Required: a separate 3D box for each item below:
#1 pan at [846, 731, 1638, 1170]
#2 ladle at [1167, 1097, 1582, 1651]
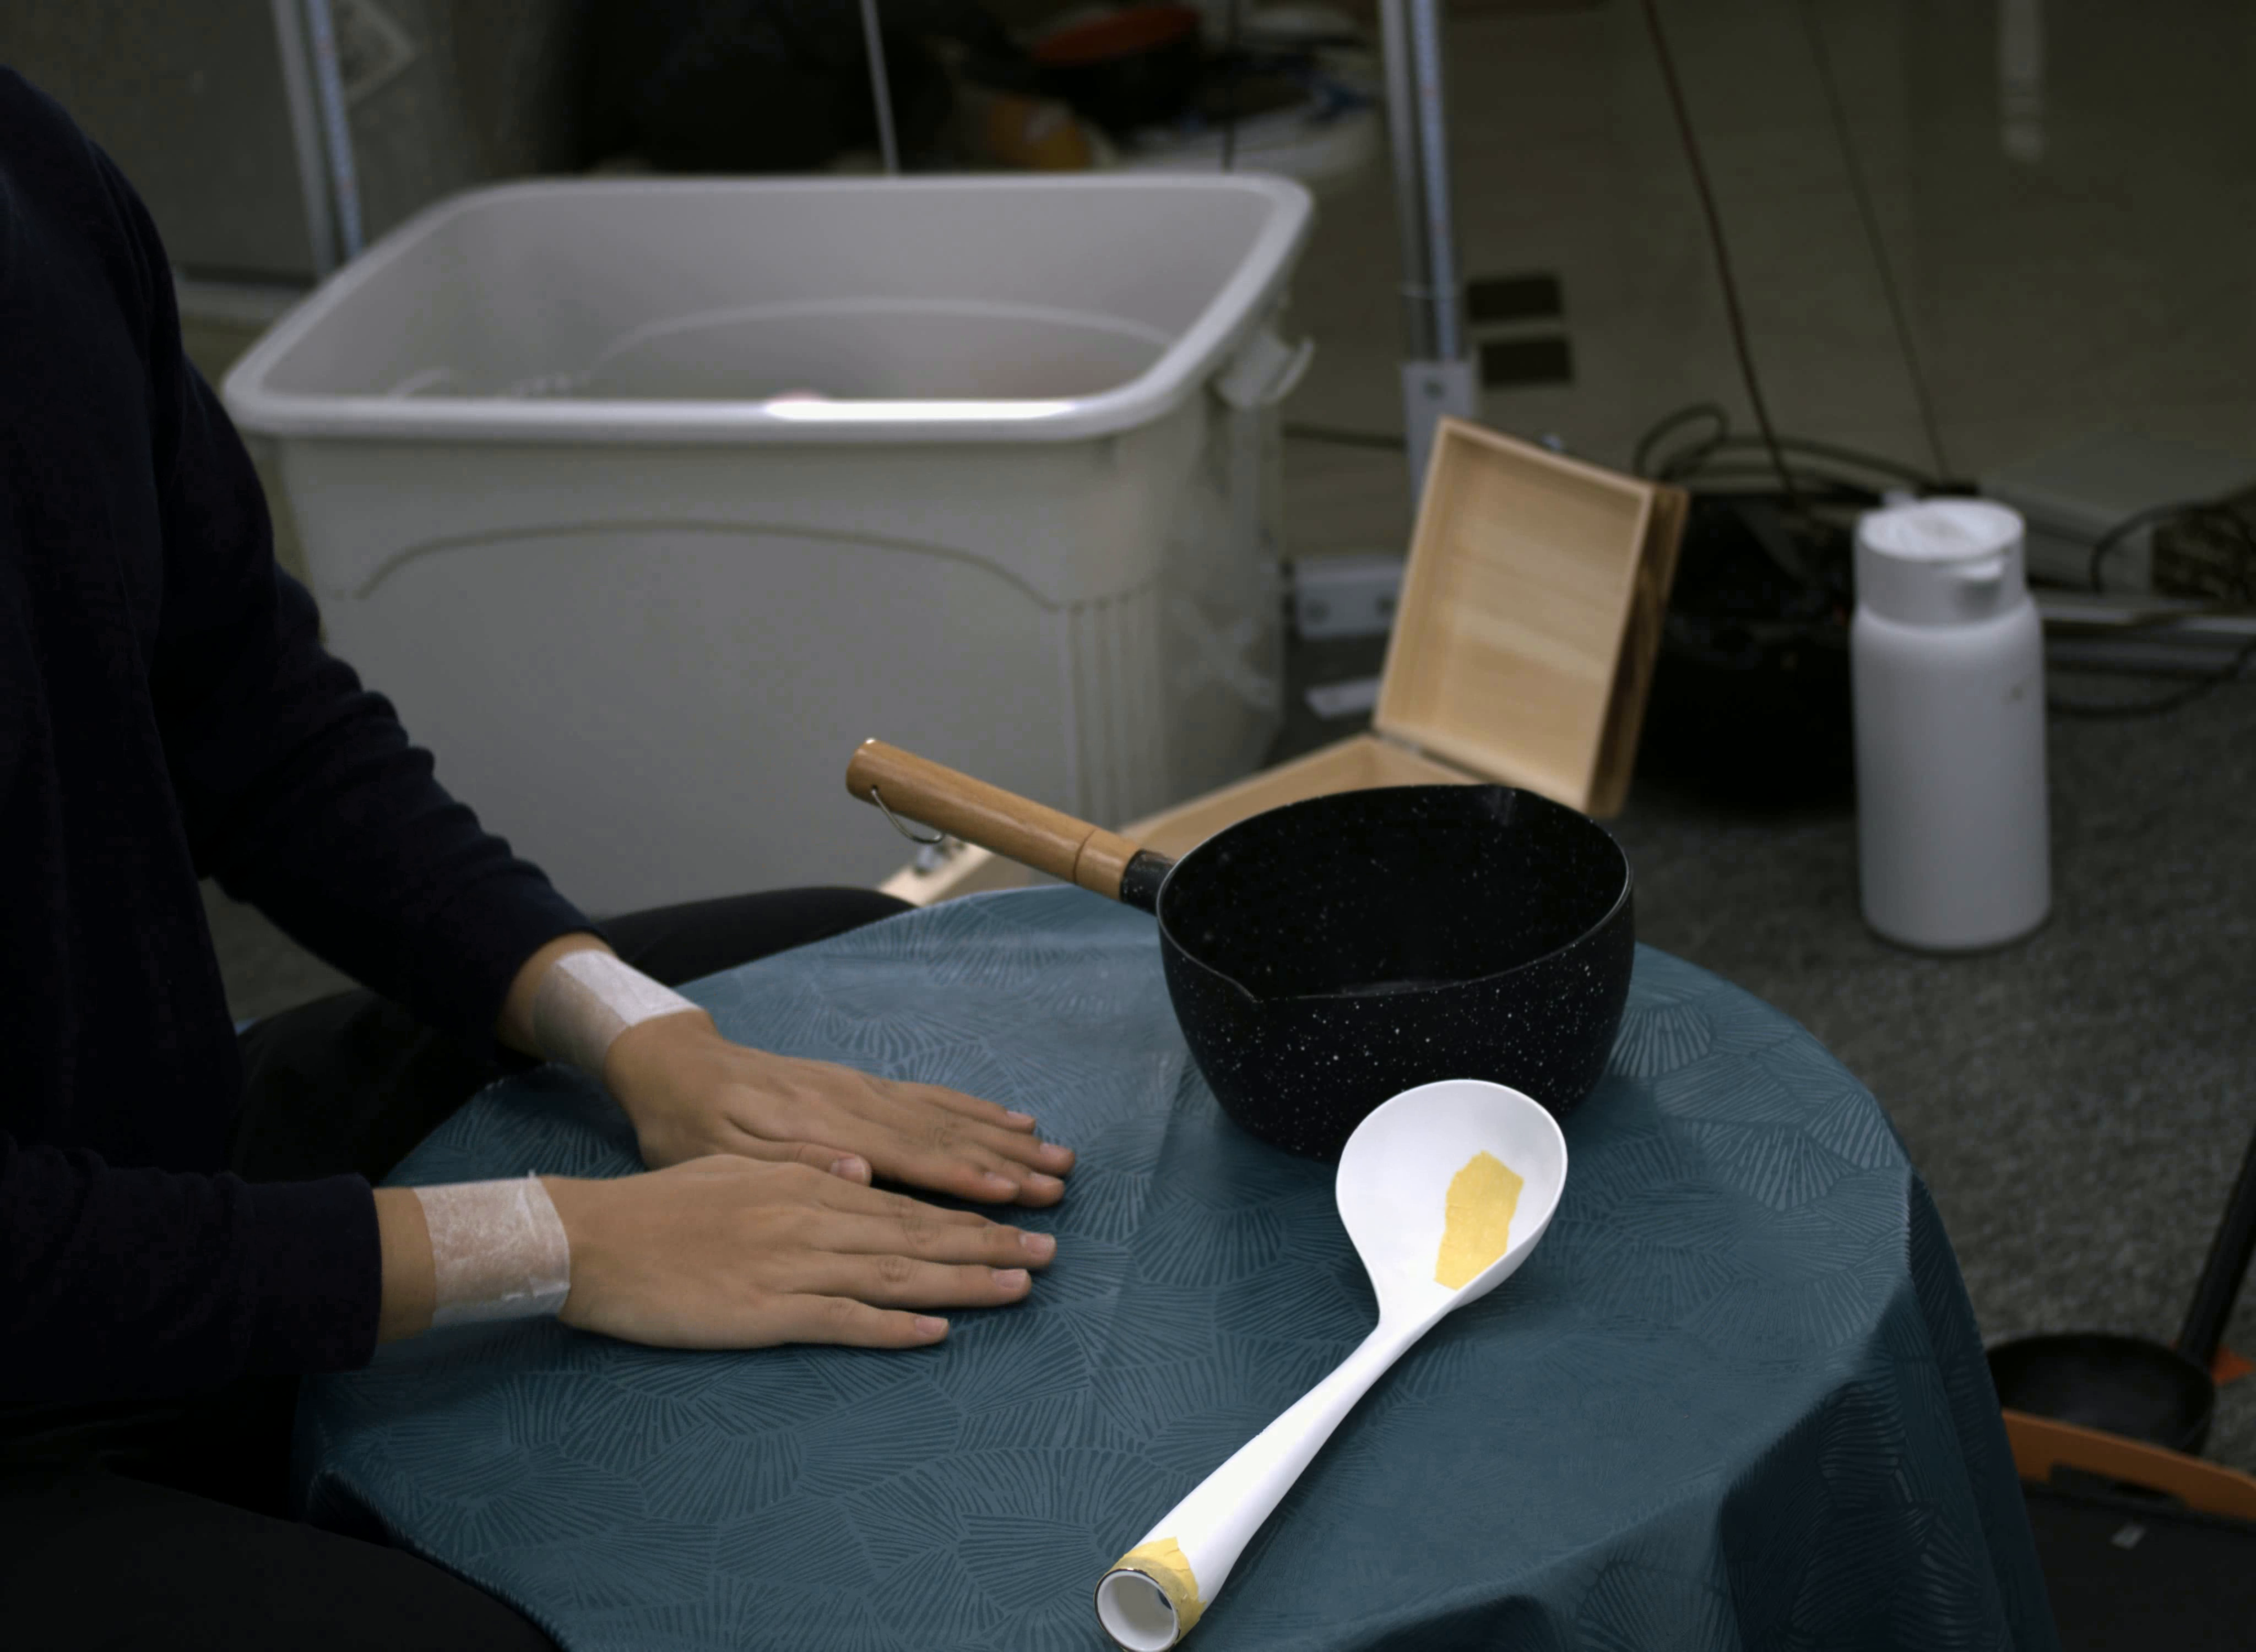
[{"bbox_3d":[0.037,0.039,2.223,0.341,0.110,0.205,10,31,29],"label":"pan"},{"bbox_3d":[0.079,0.188,1.948,0.090,0.071,0.289,-9,20,30],"label":"ladle"}]
